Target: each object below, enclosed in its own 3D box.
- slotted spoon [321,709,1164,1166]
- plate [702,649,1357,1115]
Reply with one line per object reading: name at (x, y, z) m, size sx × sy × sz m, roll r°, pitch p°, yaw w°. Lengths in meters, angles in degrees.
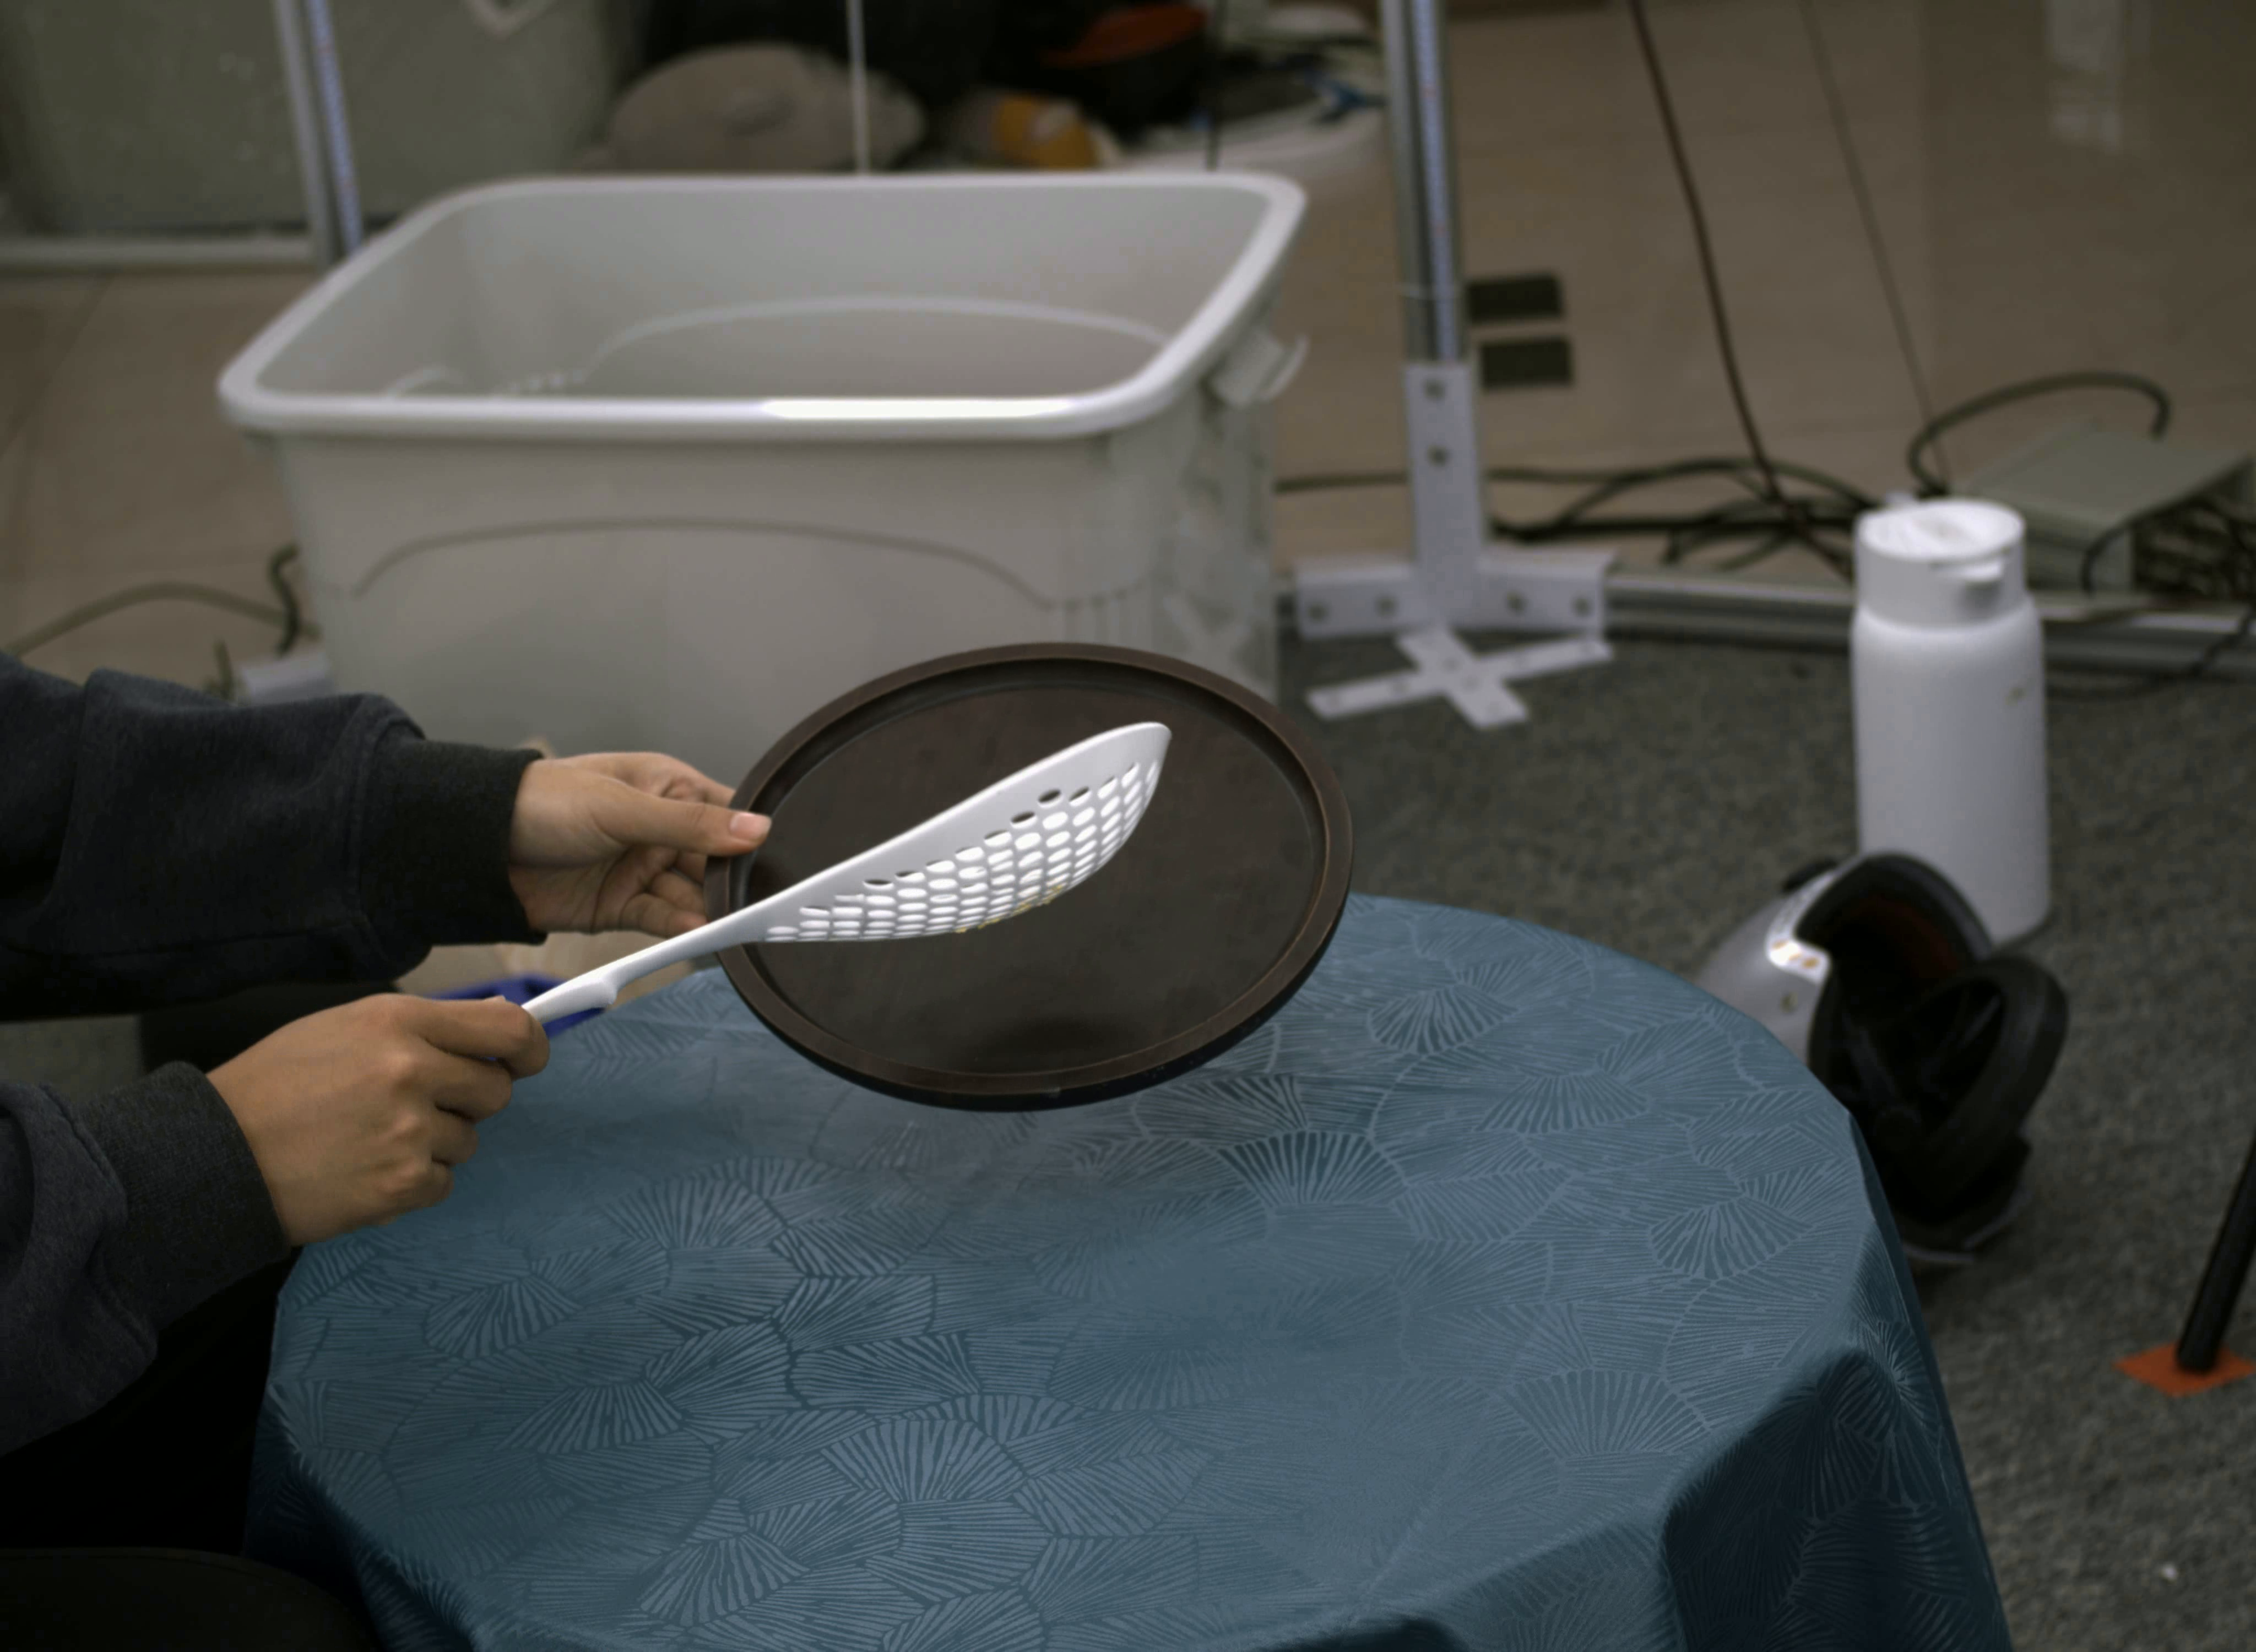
slotted spoon at (-0.136, 0.043, 2.035) m, size 0.346 × 0.050 × 0.138 m, roll -19°, pitch -10°, yaw -19°
plate at (-0.038, 0.020, 2.187) m, size 0.254 × 0.029 × 0.250 m, roll -3°, pitch 45°, yaw 3°
